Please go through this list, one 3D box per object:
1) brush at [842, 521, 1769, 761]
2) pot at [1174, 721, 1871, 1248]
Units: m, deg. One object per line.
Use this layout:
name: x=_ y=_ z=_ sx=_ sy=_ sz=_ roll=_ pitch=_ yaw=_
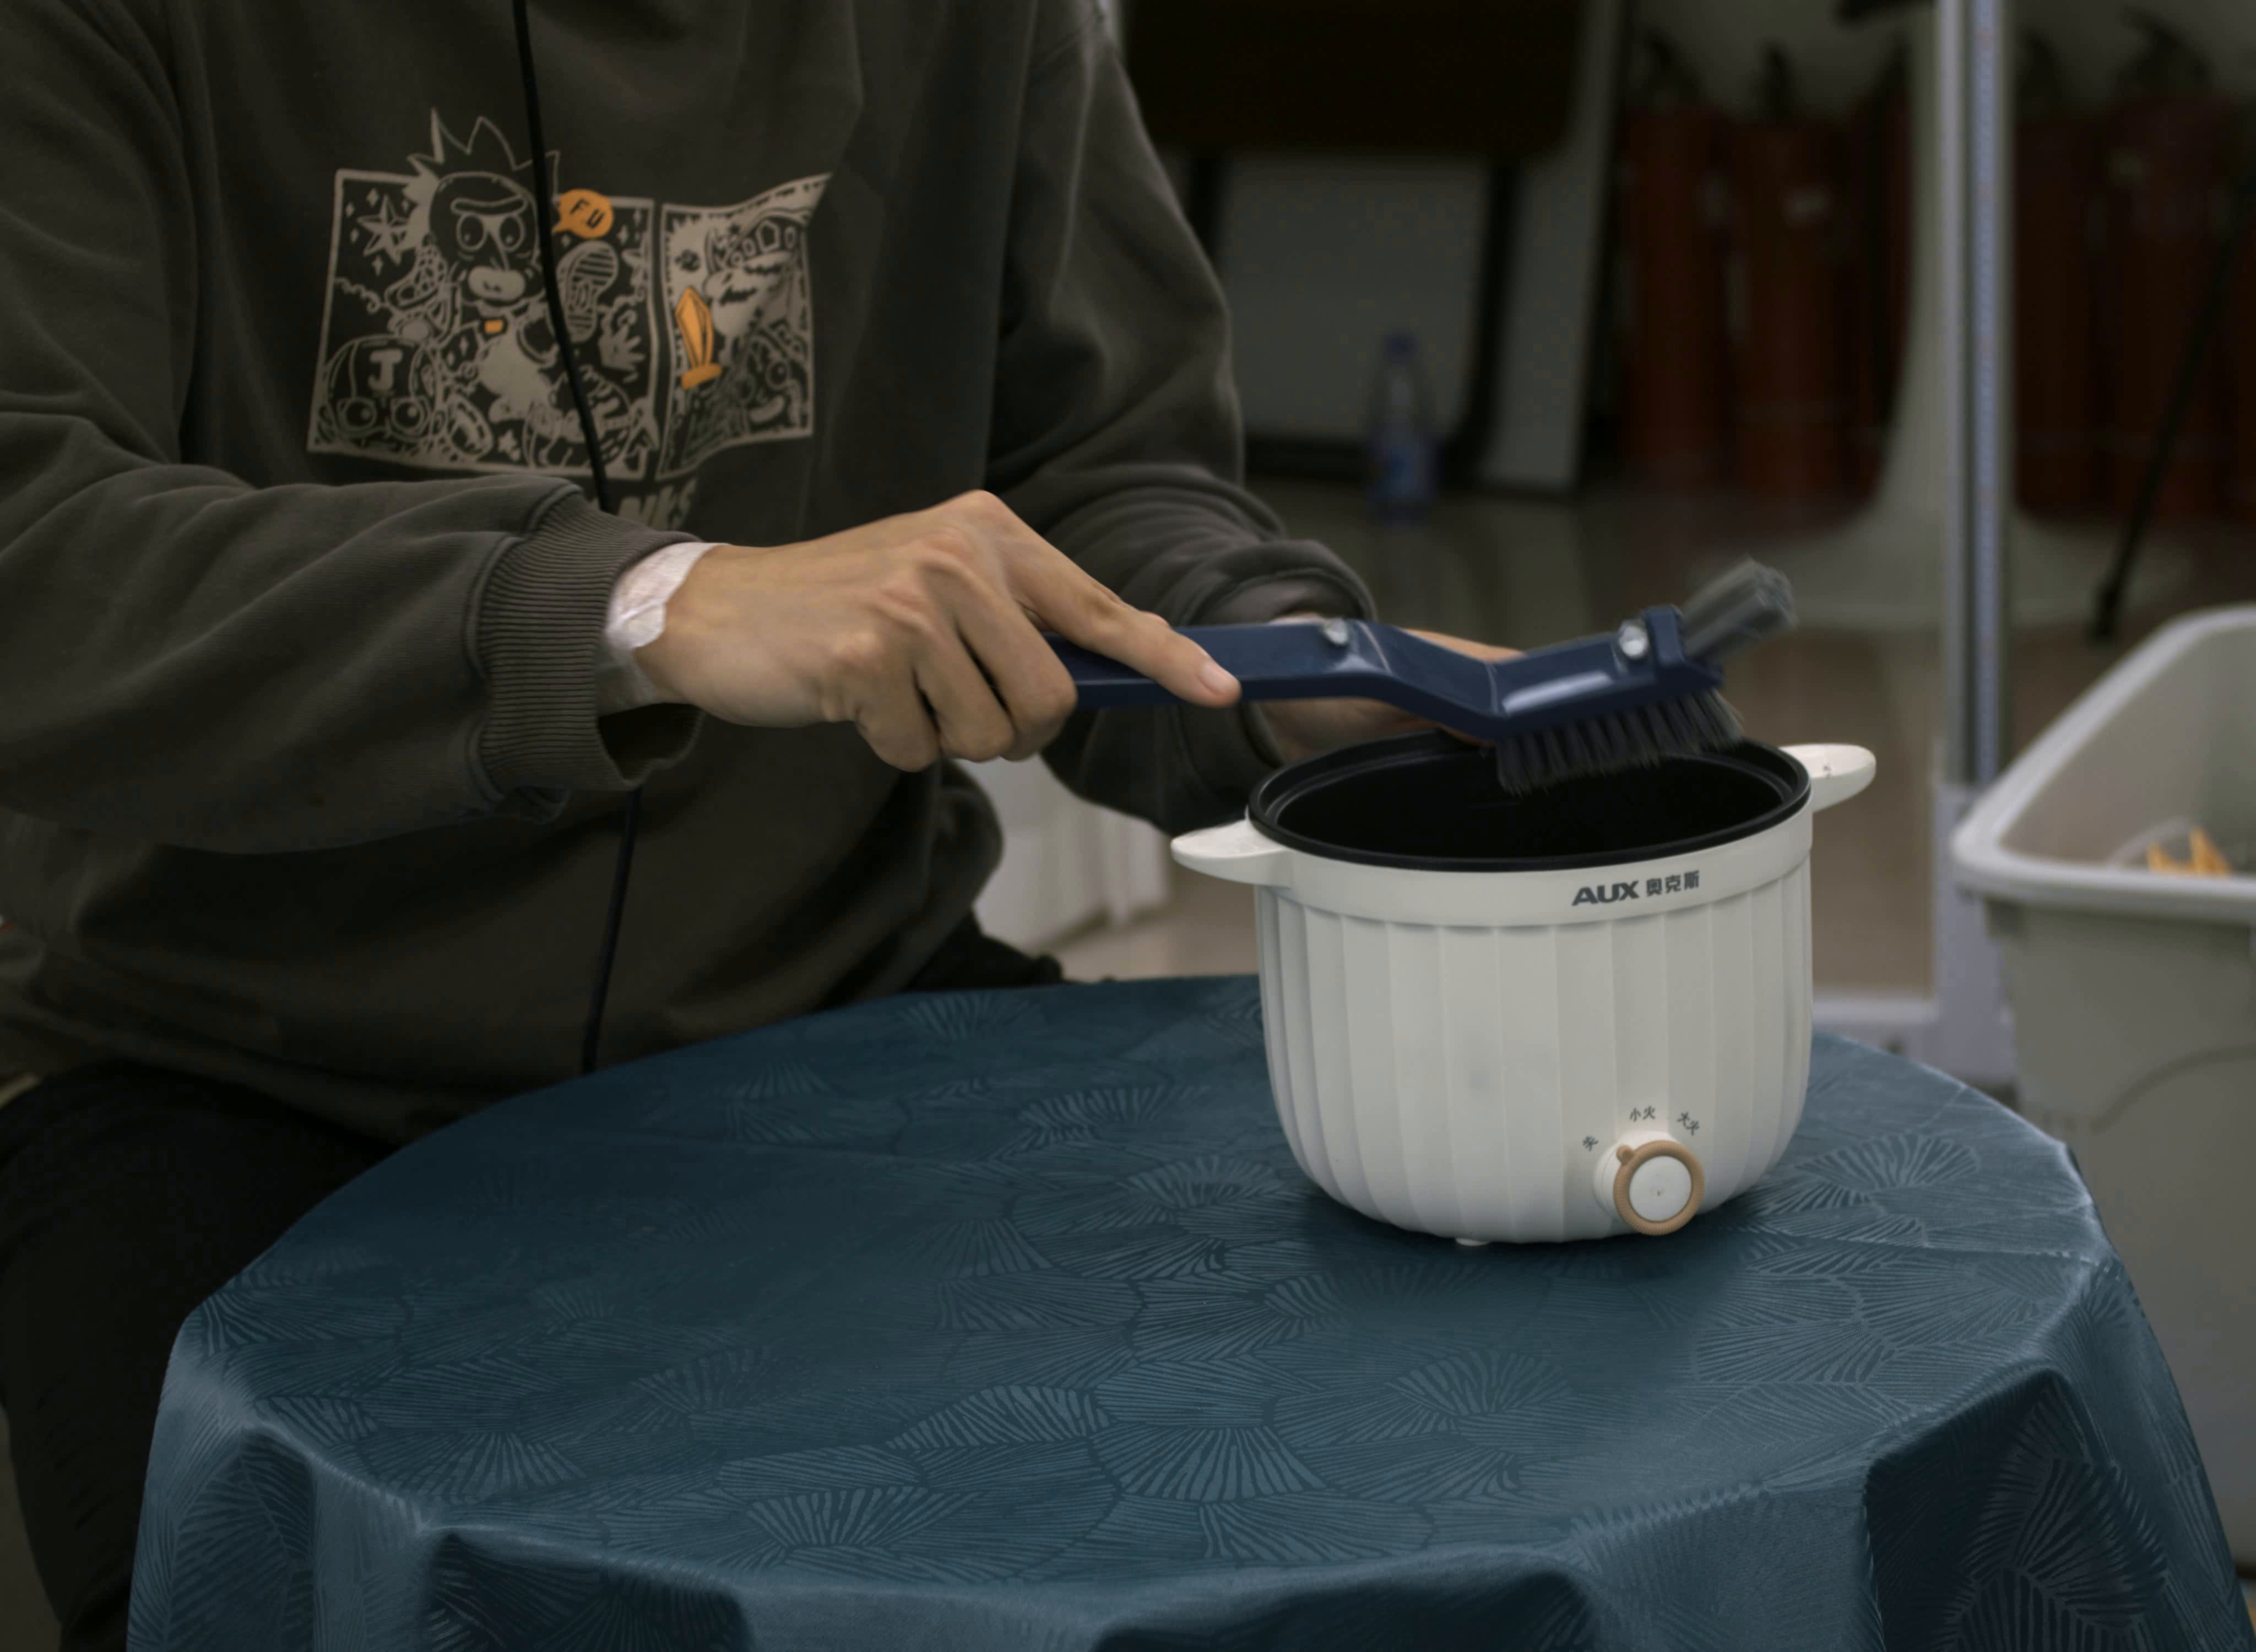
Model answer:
brush: x=0.051 y=-0.060 z=1.620 sx=0.269 sy=0.096 sz=0.034 roll=3 pitch=45 yaw=-5
pot: x=0.134 y=0.052 z=1.725 sx=0.236 sy=0.144 sz=0.192 roll=-9 pitch=11 yaw=-15
